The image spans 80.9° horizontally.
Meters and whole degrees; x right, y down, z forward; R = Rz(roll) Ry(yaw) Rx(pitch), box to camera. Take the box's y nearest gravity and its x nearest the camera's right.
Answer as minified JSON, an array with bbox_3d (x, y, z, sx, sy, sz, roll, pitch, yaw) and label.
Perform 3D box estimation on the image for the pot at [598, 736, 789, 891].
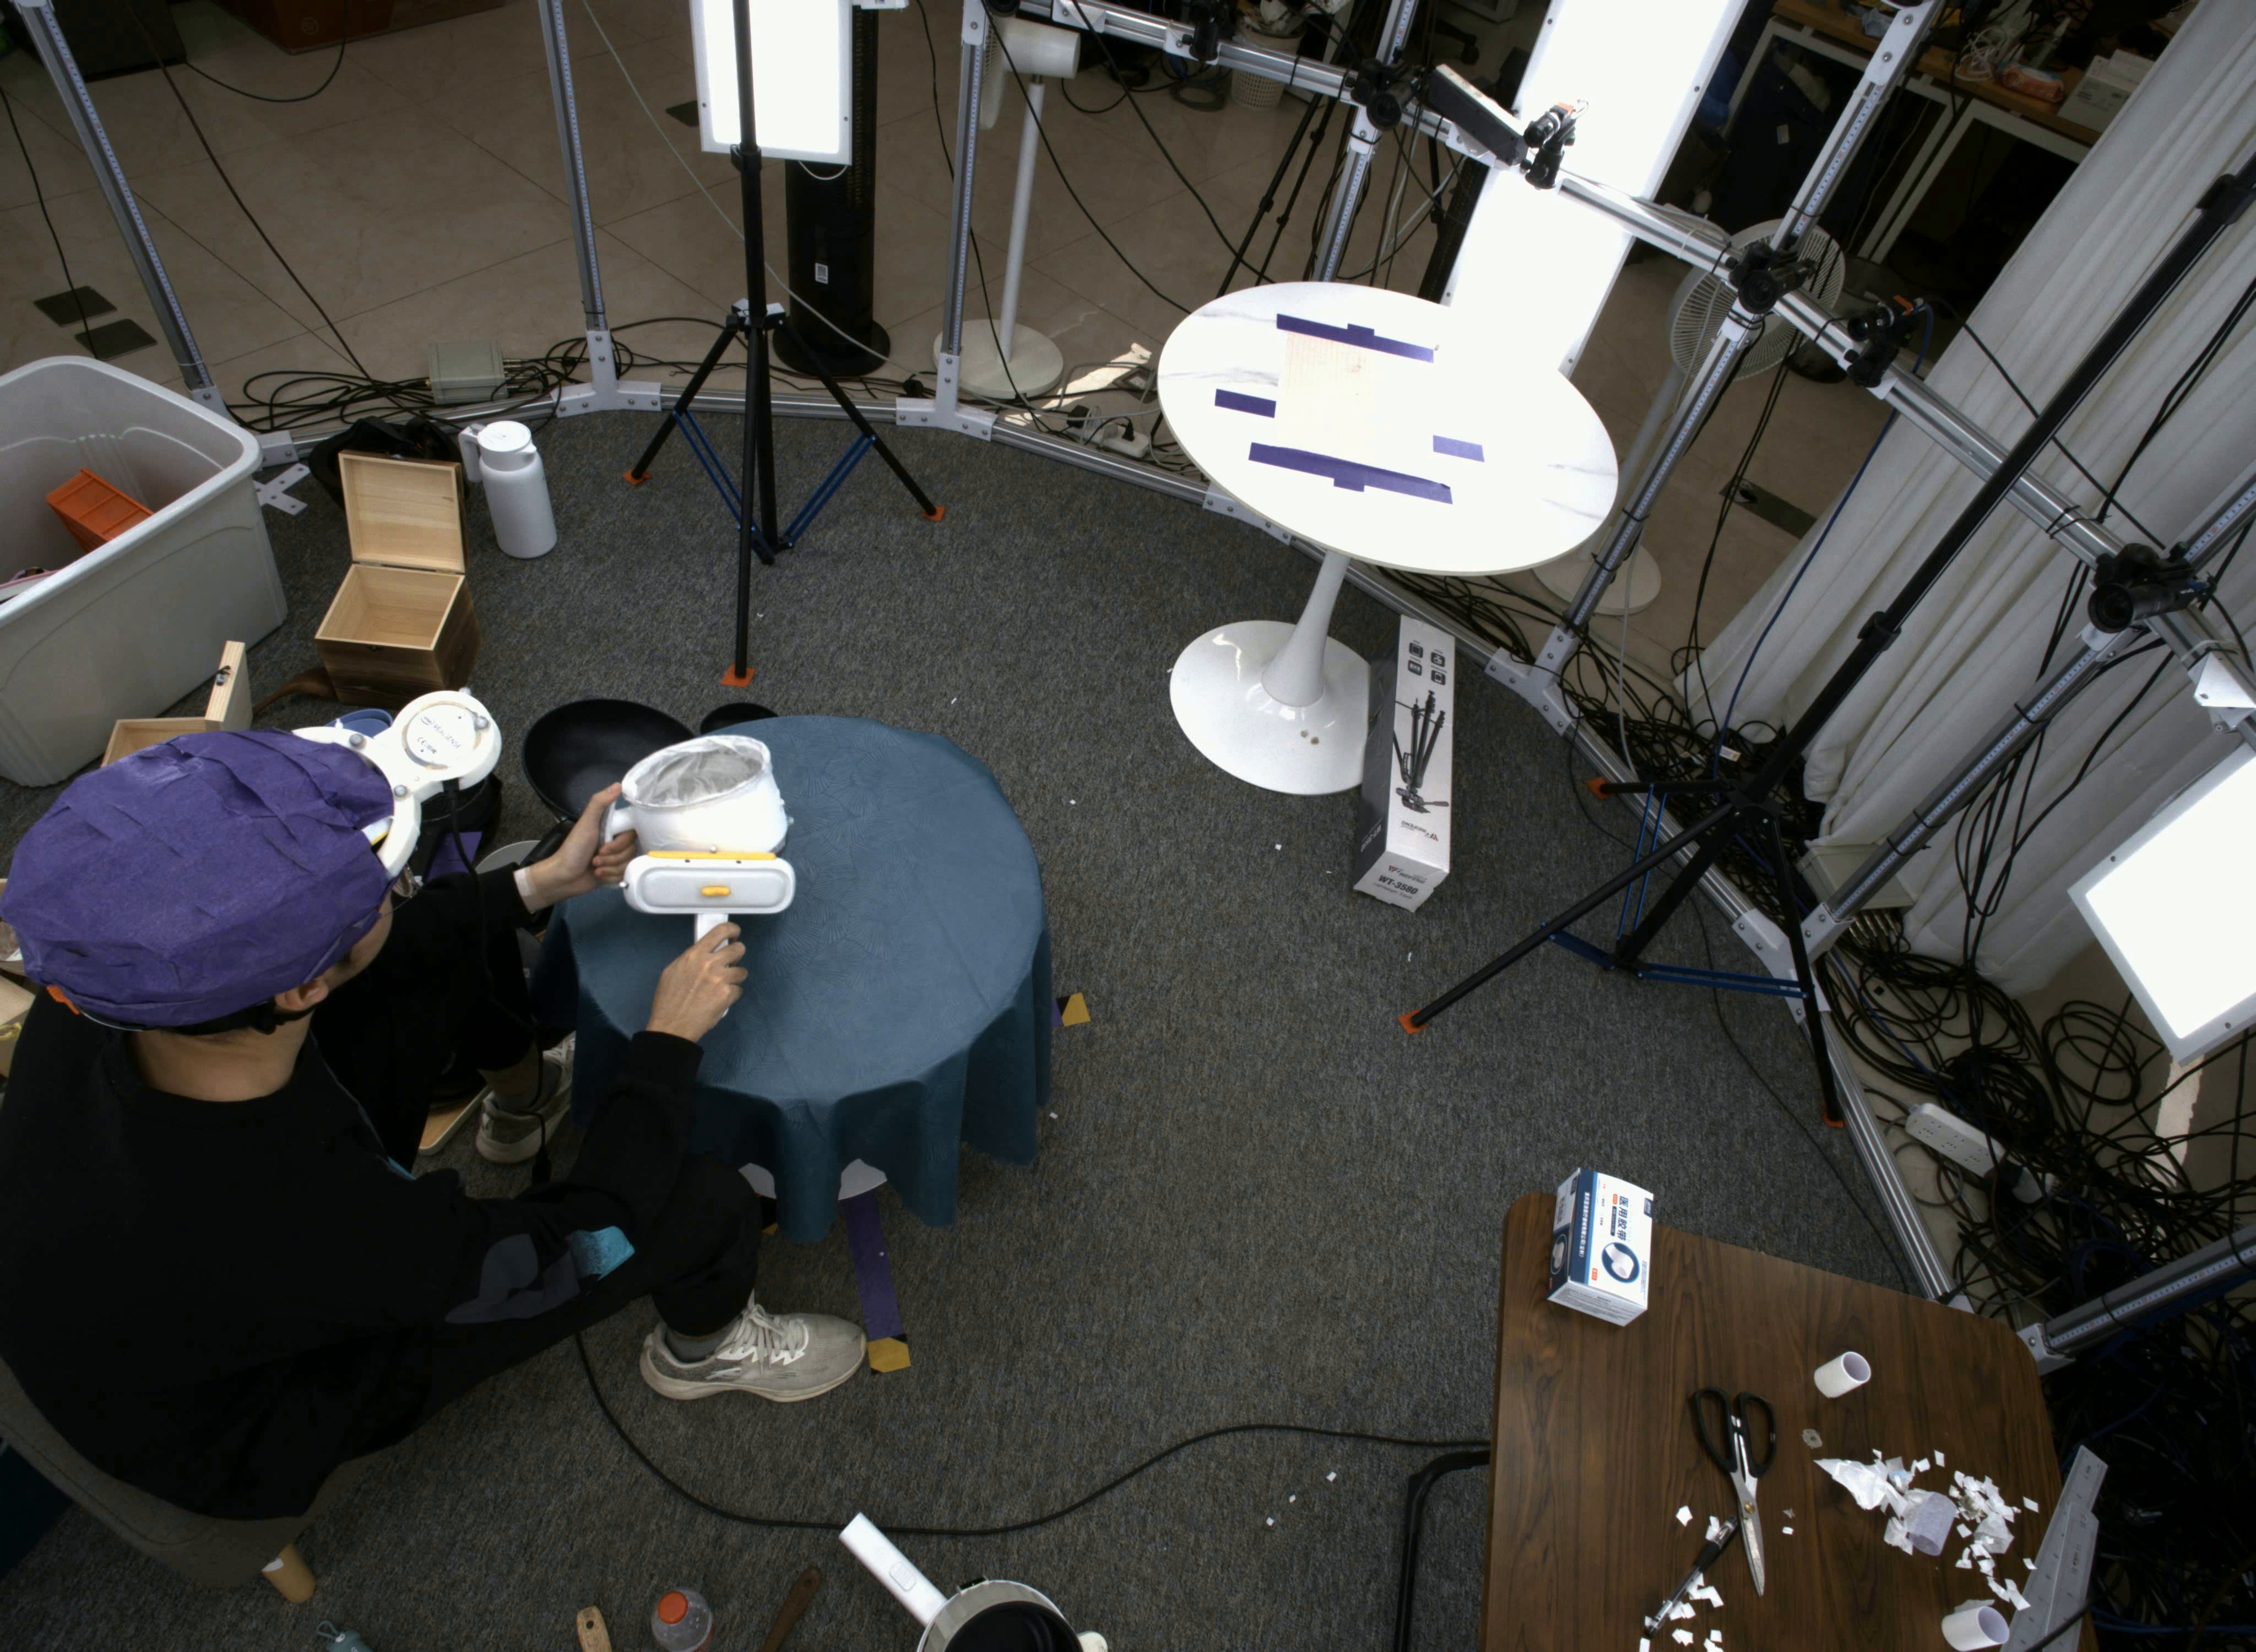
[{"bbox_3d":[-0.531,-0.006,1.551,0.234,0.141,0.172,-19,32,-23],"label":"pot"}]

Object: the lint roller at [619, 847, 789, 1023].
[{"bbox_3d":[-0.478,0.122,1.475,0.196,0.072,0.195,-3,94,-34],"label":"lint roller"}]
